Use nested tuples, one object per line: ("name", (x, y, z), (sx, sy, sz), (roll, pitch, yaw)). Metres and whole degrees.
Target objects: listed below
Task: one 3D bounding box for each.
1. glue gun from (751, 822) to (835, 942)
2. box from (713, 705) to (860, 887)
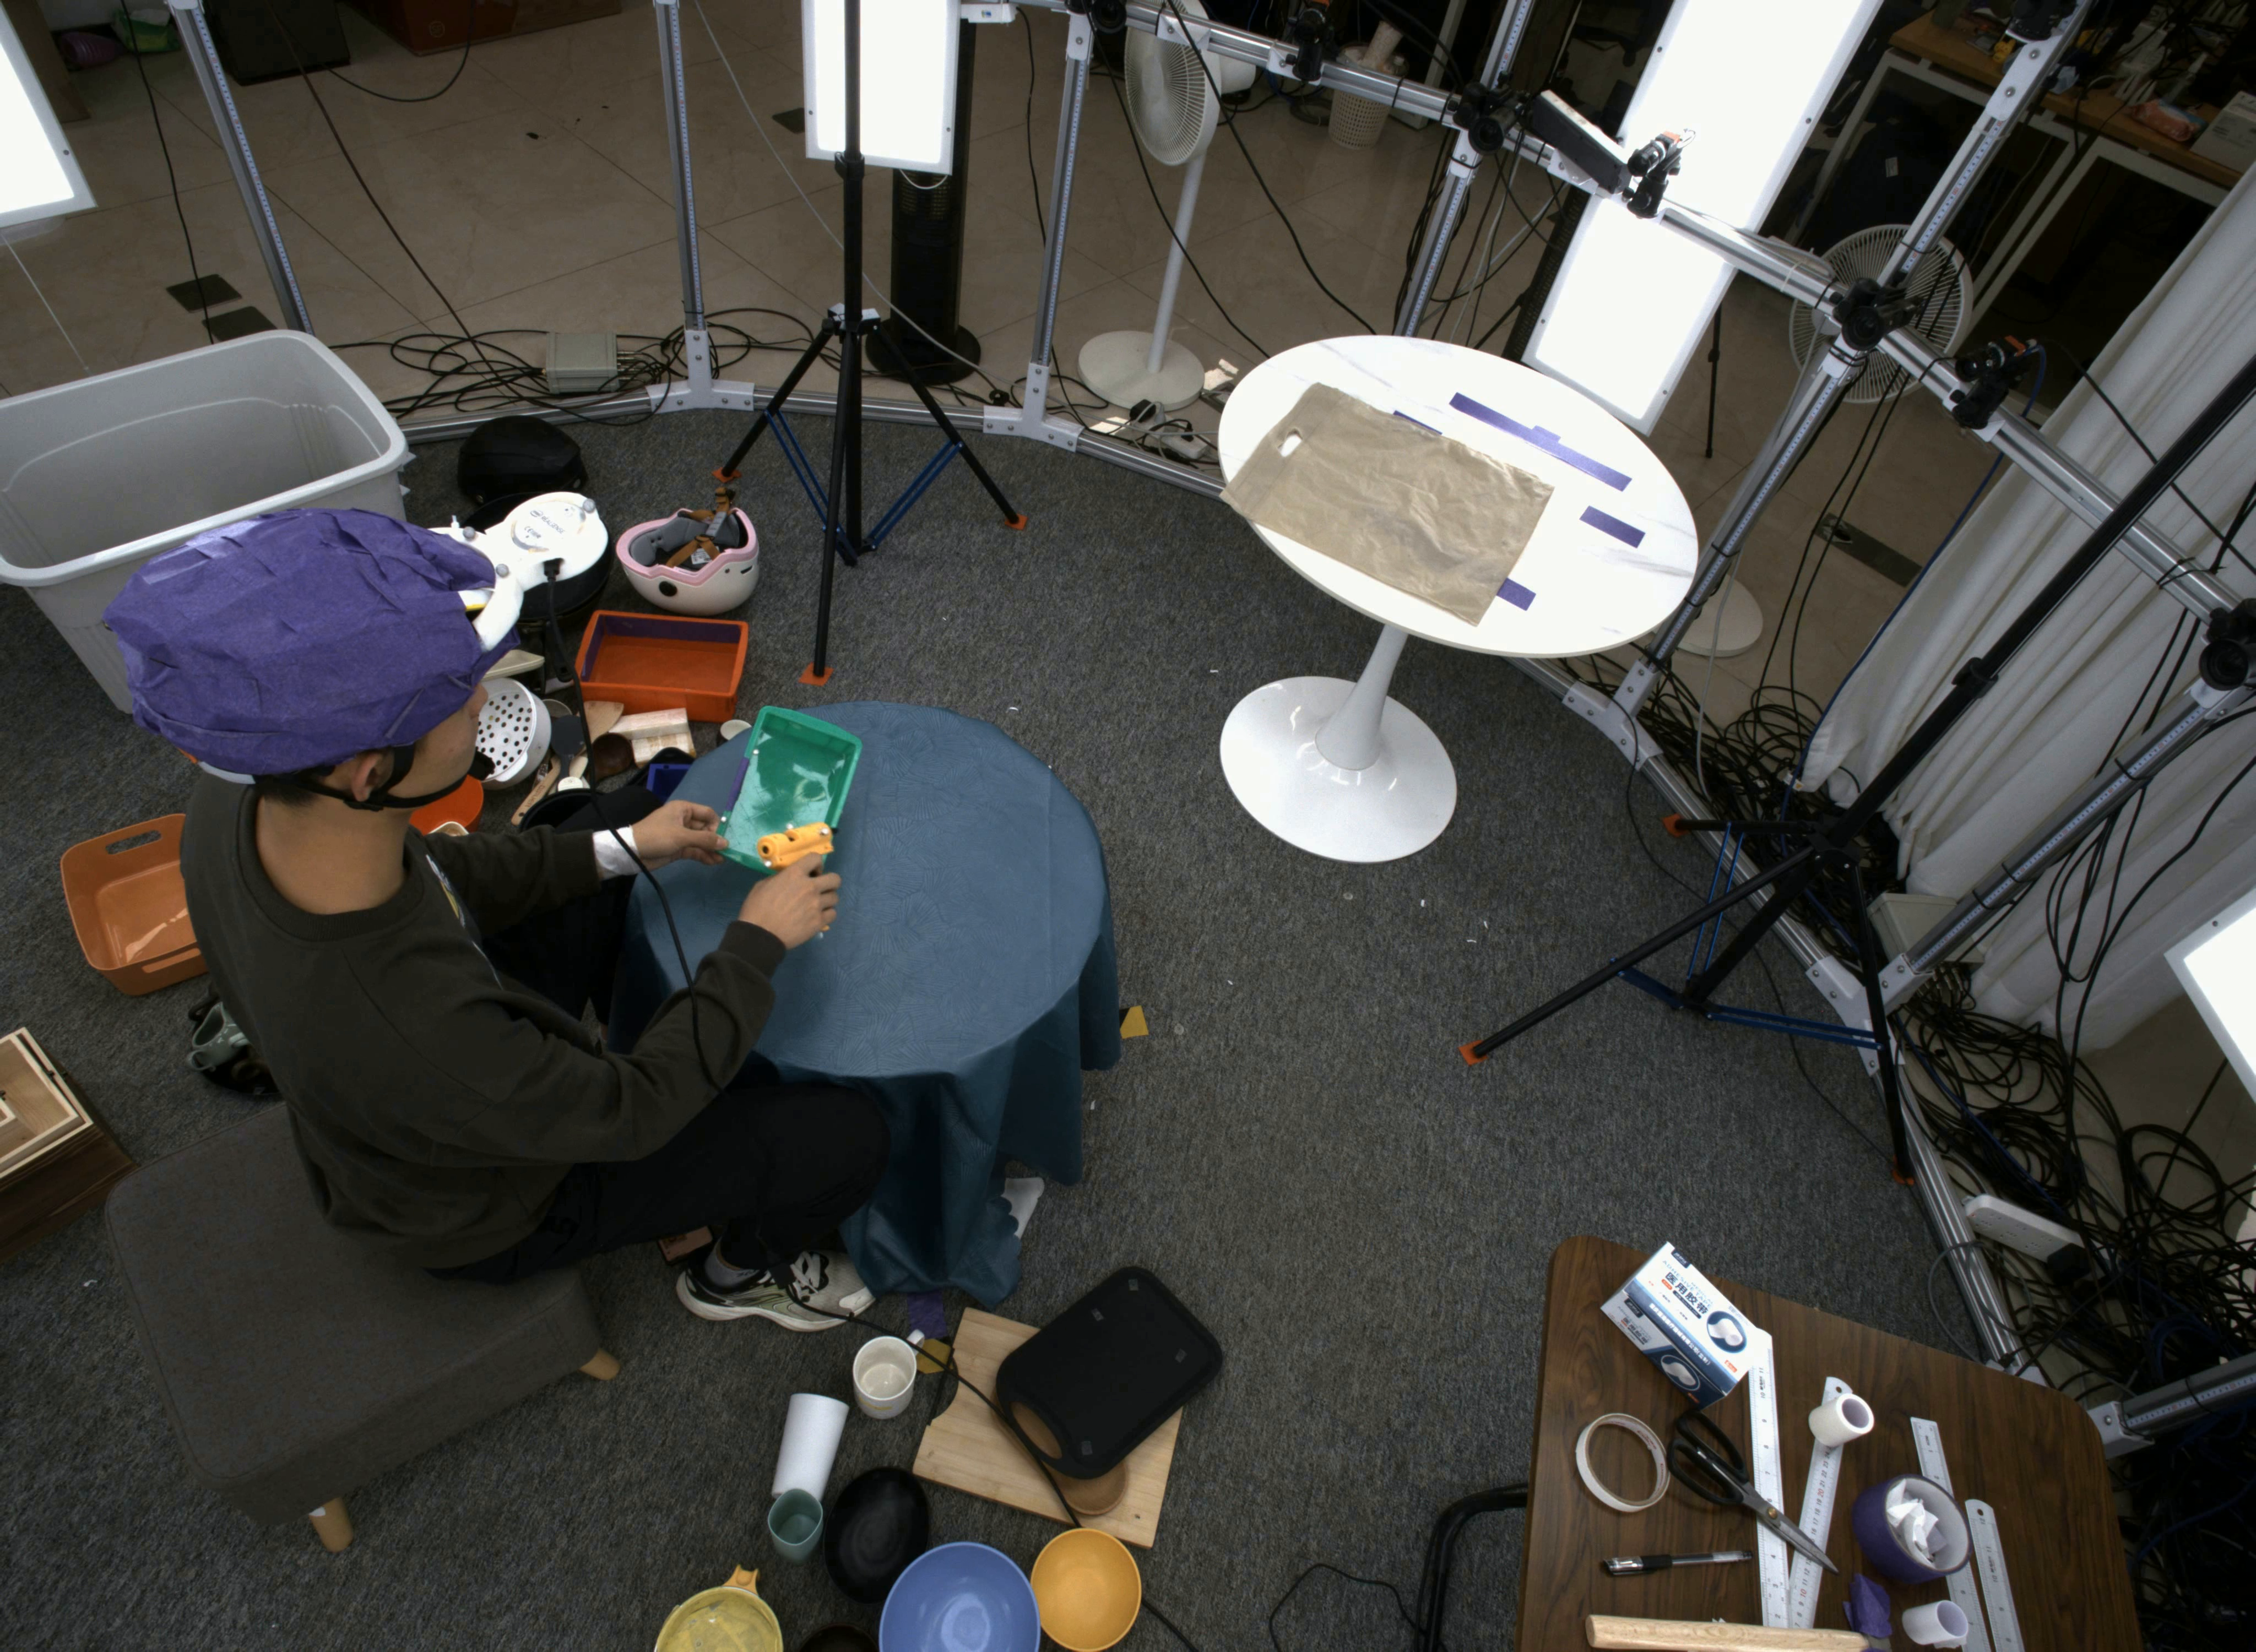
("glue gun", (-0.375, 0.055, 1.555), (0.135, 0.030, 0.151), (66, 23, -6))
("box", (-0.433, -0.034, 1.642), (0.140, 0.064, 0.211), (17, 78, -19))
